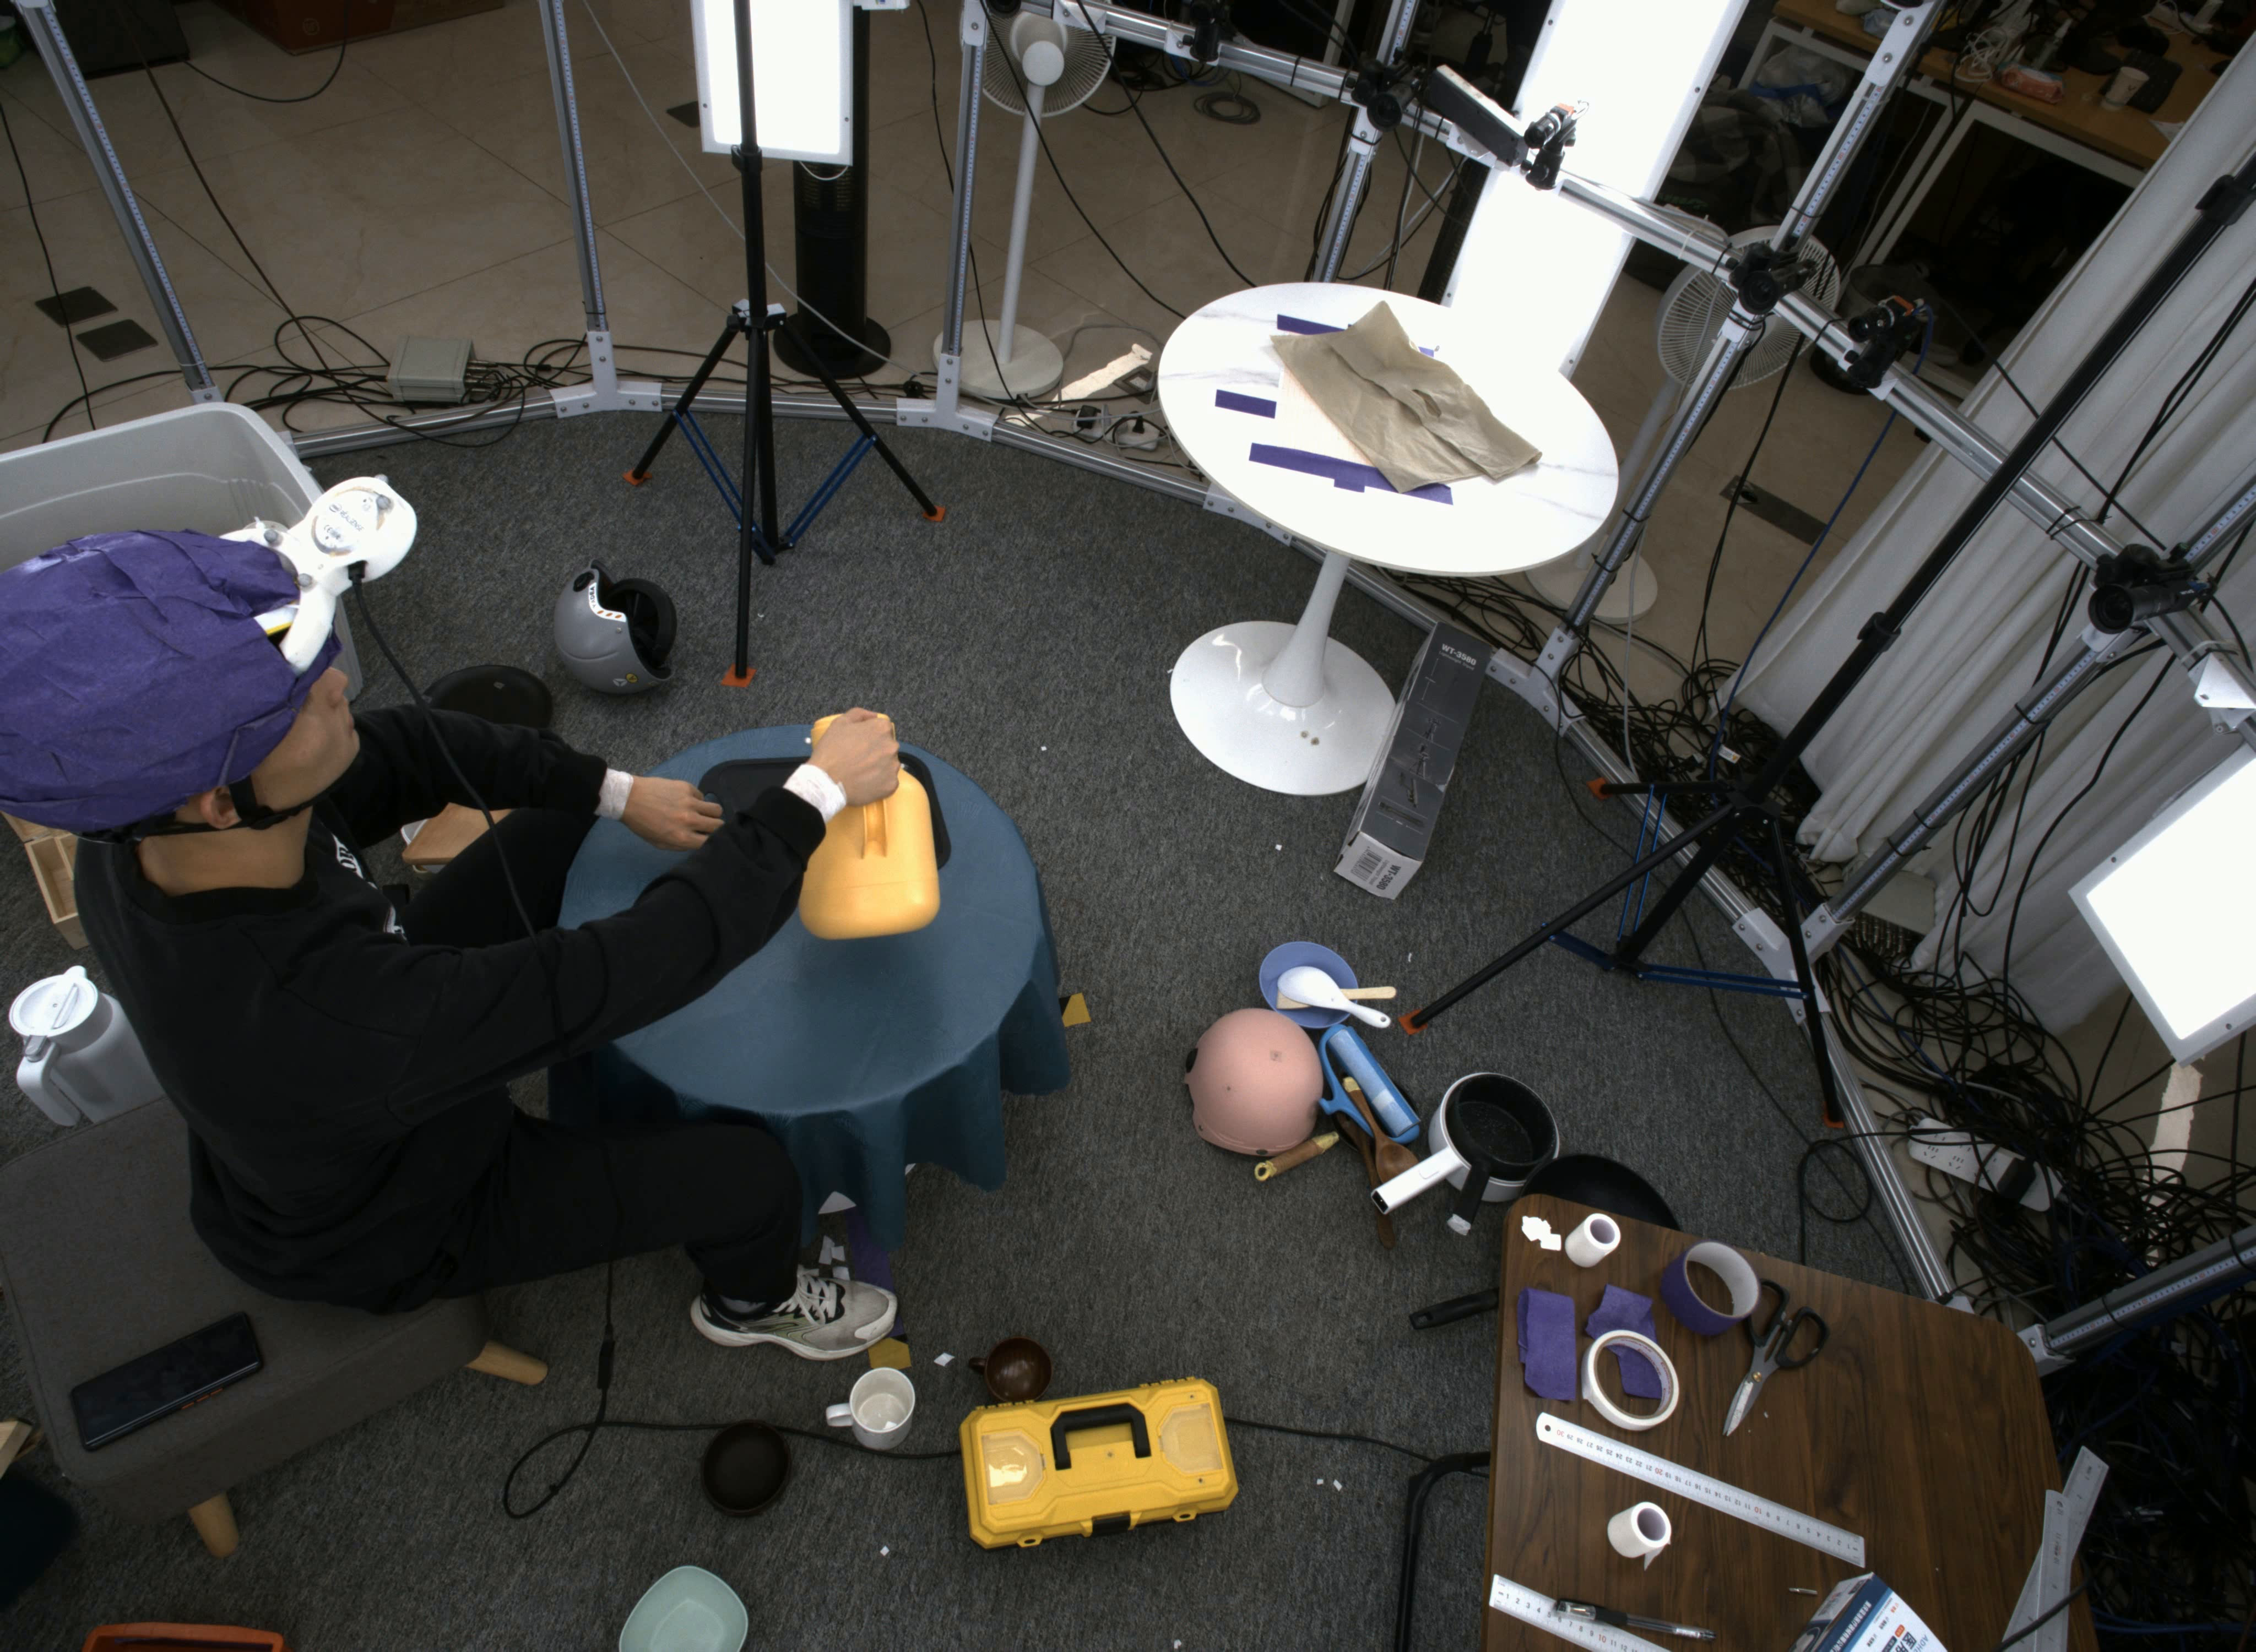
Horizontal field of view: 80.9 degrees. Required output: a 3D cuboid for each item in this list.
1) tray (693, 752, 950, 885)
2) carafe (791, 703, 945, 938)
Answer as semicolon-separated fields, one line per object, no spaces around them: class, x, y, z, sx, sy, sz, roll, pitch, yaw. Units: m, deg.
tray;-0.405;-0.016;1.710;0.328;0.010;0.206;-4;54;-26
carafe;-0.305;-0.009;1.491;0.164;0.200;0.264;-10;91;-16
